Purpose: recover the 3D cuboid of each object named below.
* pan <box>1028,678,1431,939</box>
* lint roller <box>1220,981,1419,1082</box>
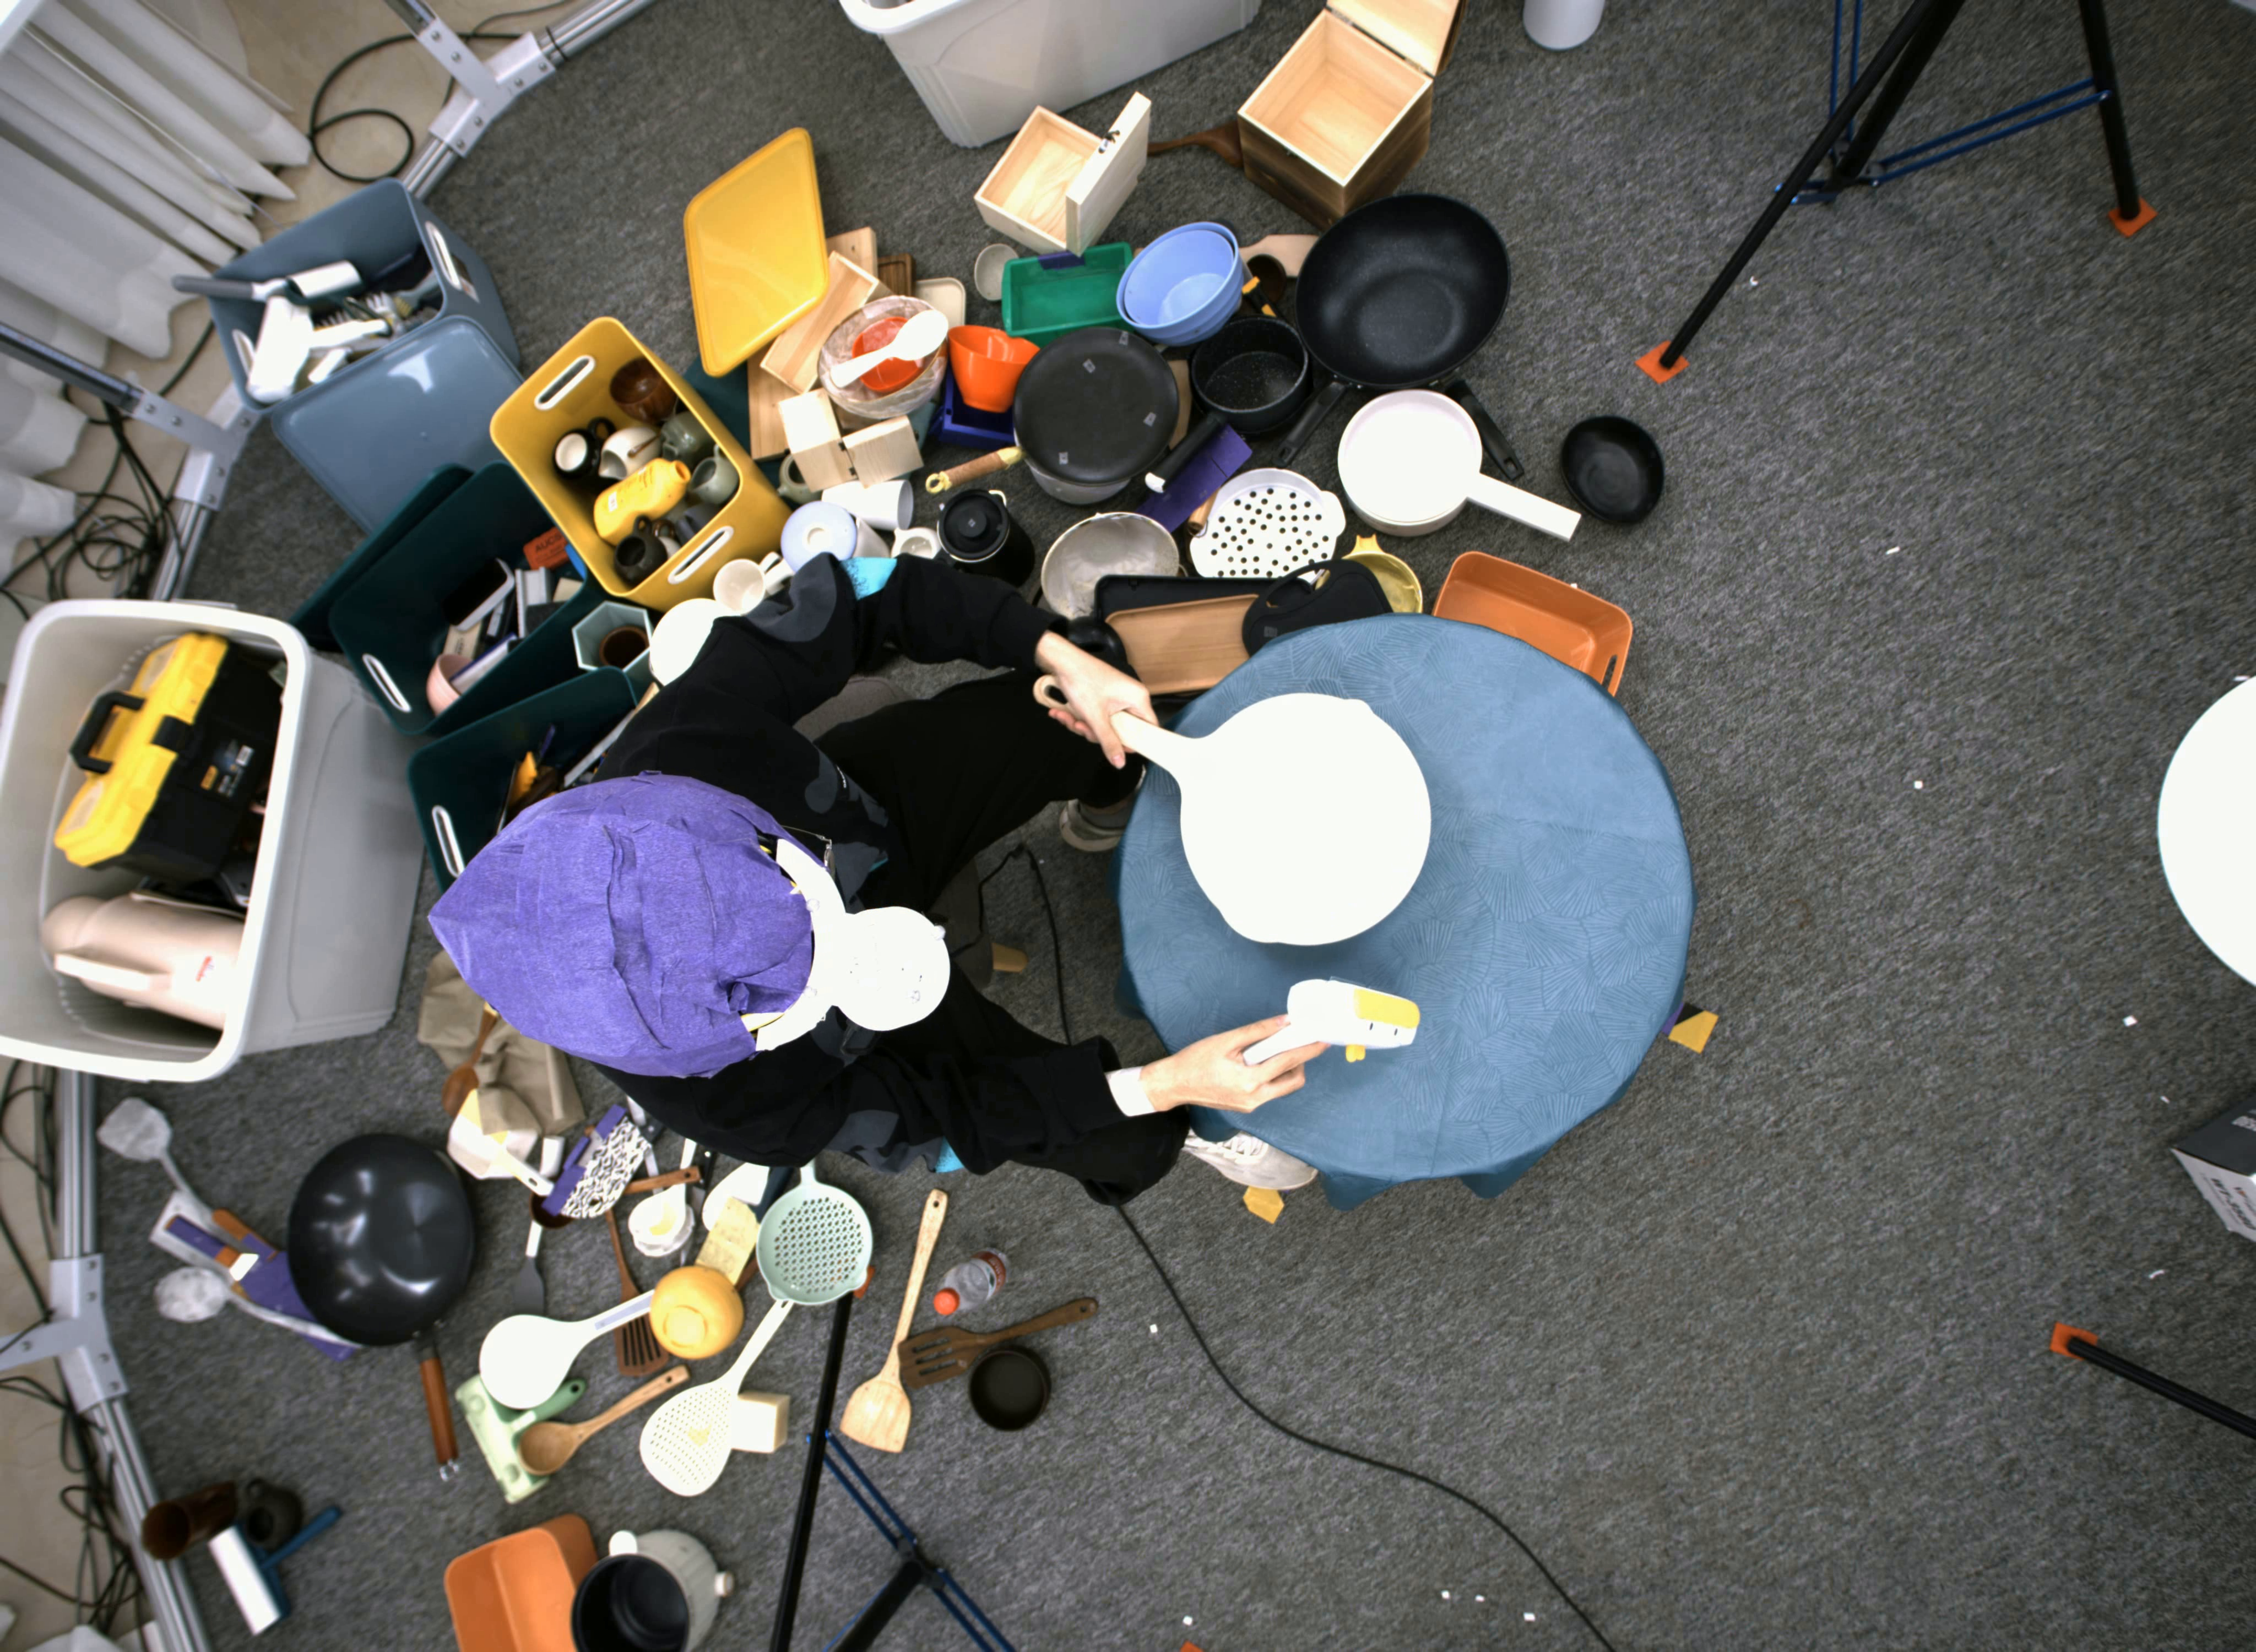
[{"bbox_3d":[0.103,-0.055,1.420,0.434,0.101,0.267,27,106,13],"label":"pan"},{"bbox_3d":[0.168,0.202,1.349,0.195,0.192,0.073,-20,73,34],"label":"lint roller"}]
